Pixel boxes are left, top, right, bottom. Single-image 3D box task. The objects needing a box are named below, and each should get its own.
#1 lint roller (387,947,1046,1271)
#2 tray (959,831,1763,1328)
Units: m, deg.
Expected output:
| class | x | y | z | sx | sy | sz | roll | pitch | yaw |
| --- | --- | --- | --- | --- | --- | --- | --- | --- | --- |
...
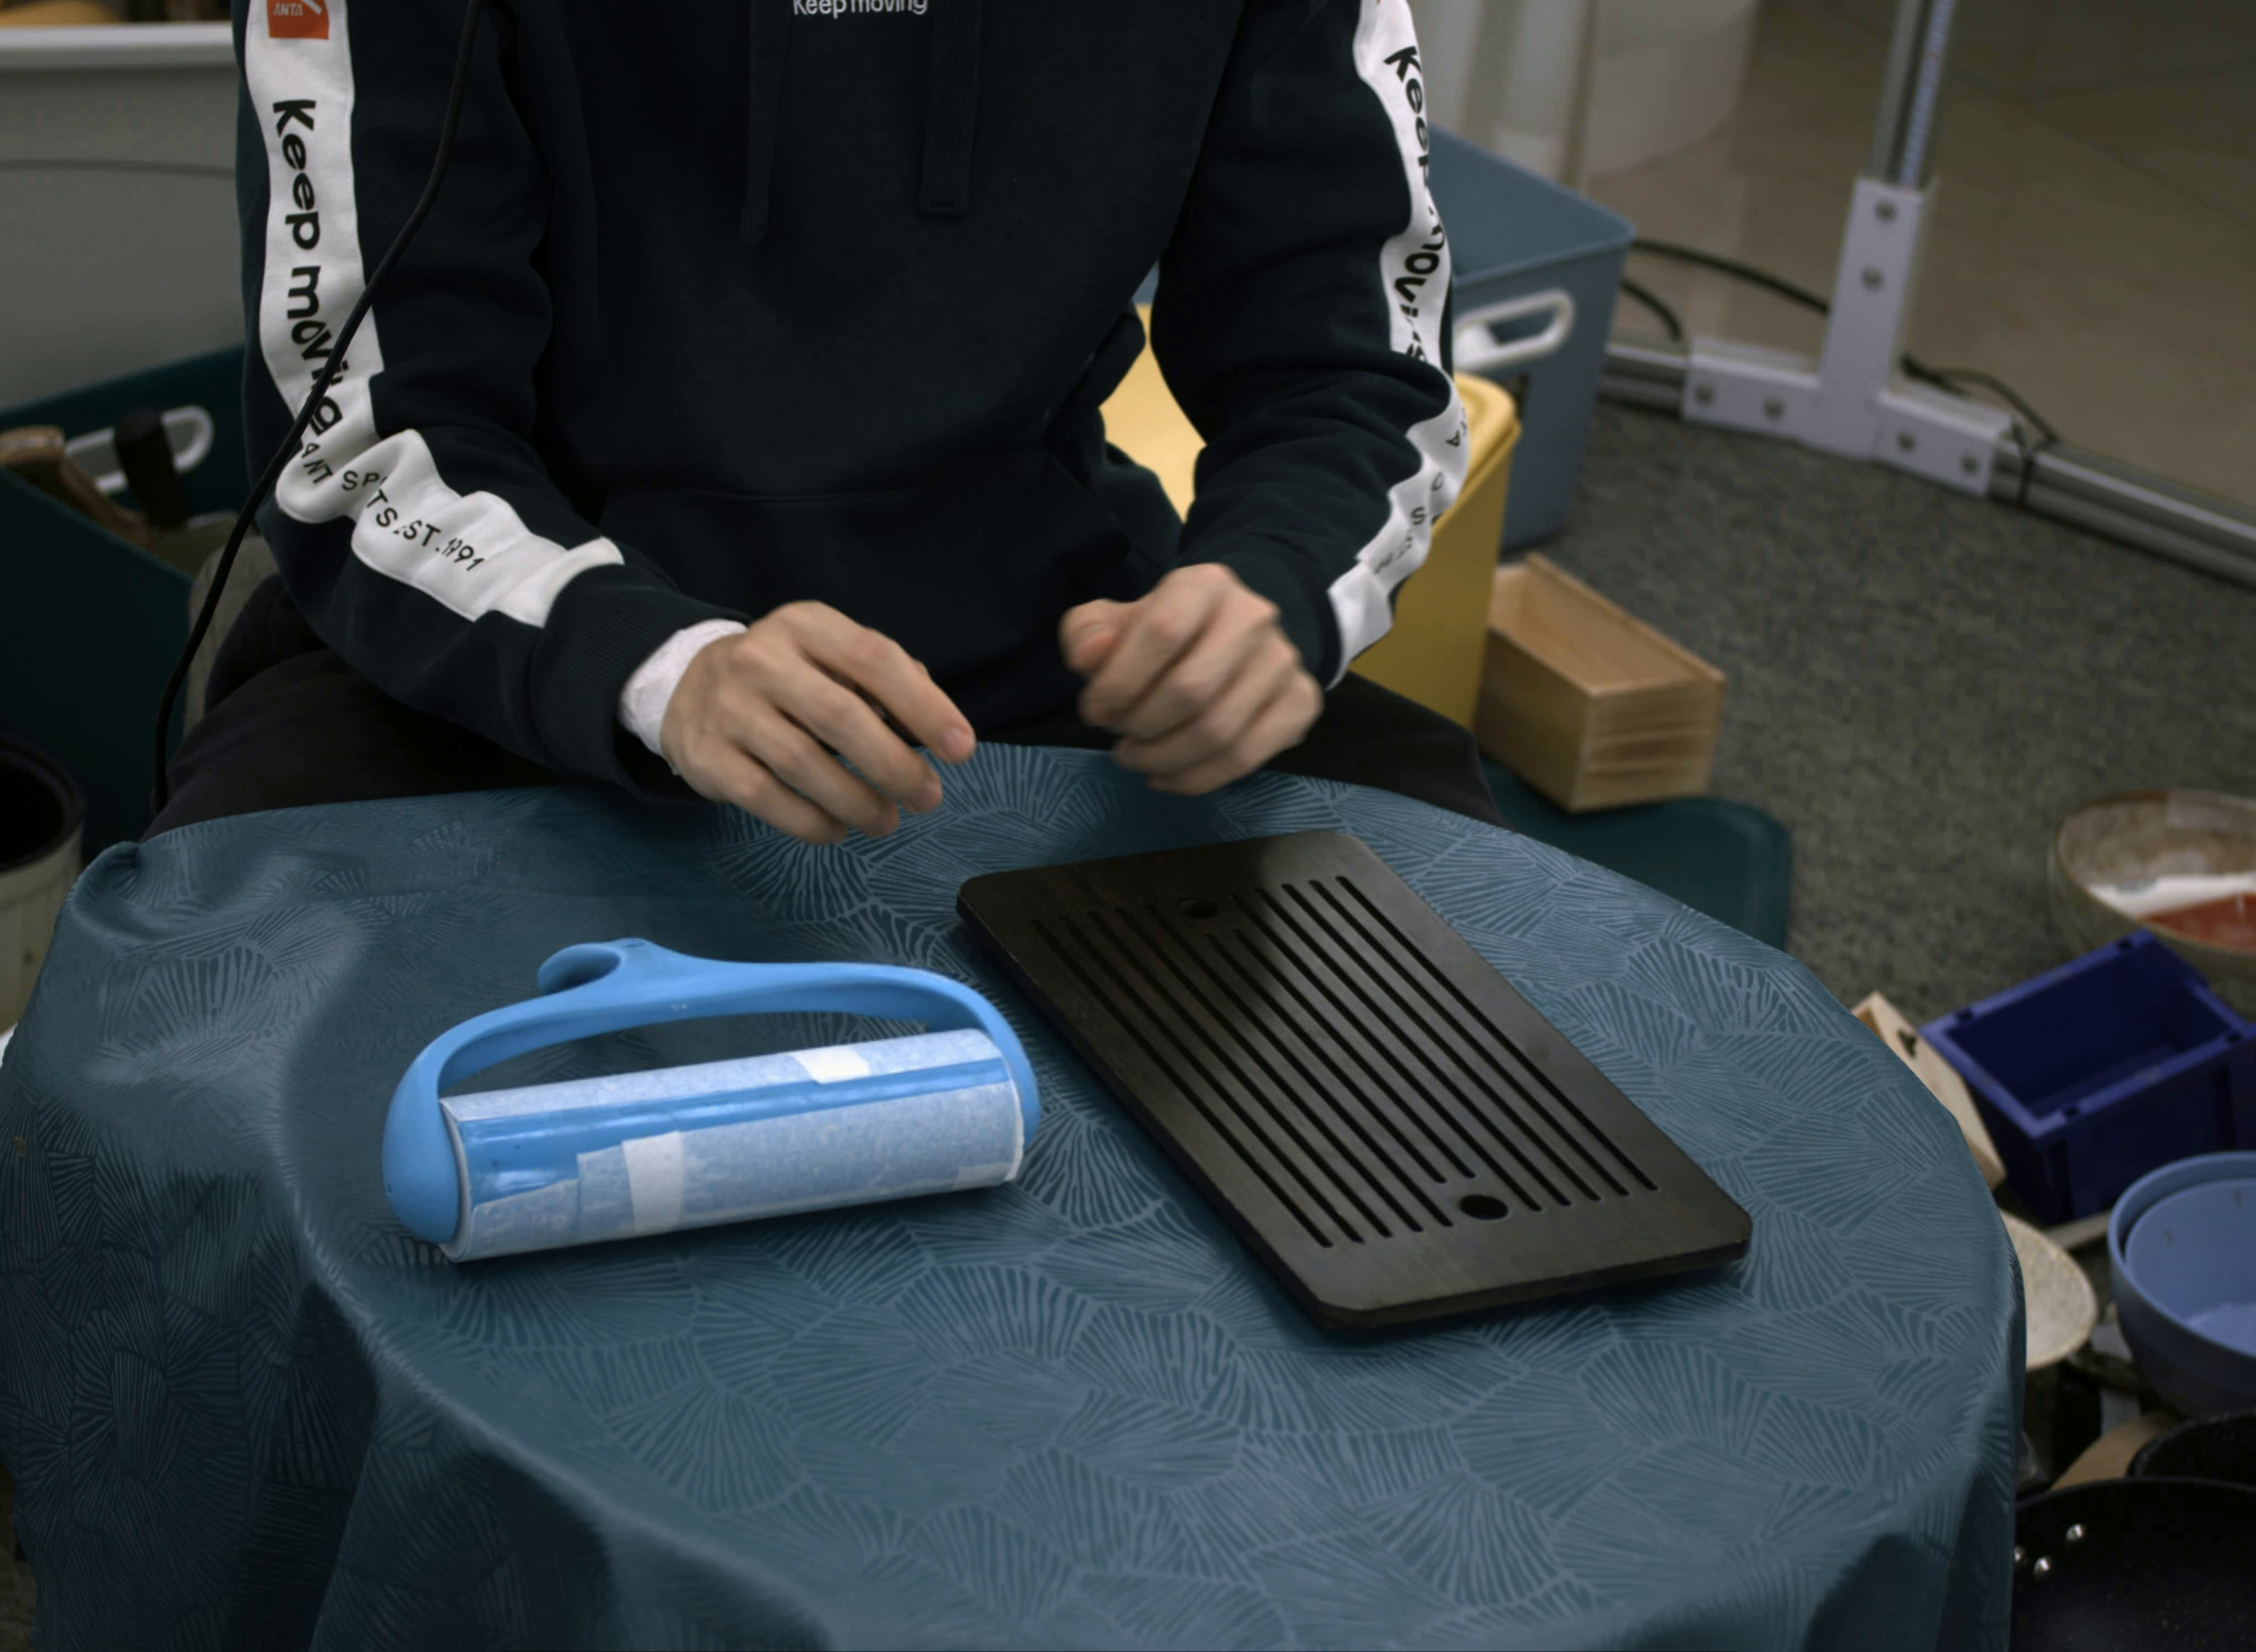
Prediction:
| class | x | y | z | sx | sy | sz | roll | pitch | yaw |
| --- | --- | --- | --- | --- | --- | --- | --- | --- | --- |
| lint roller | -0.159 | 0.076 | 1.793 | 0.227 | 0.067 | 0.182 | -10 | 33 | -26 |
| tray | 0.076 | 0.086 | 1.870 | 0.169 | 0.018 | 0.309 | -8 | 30 | -26 |
